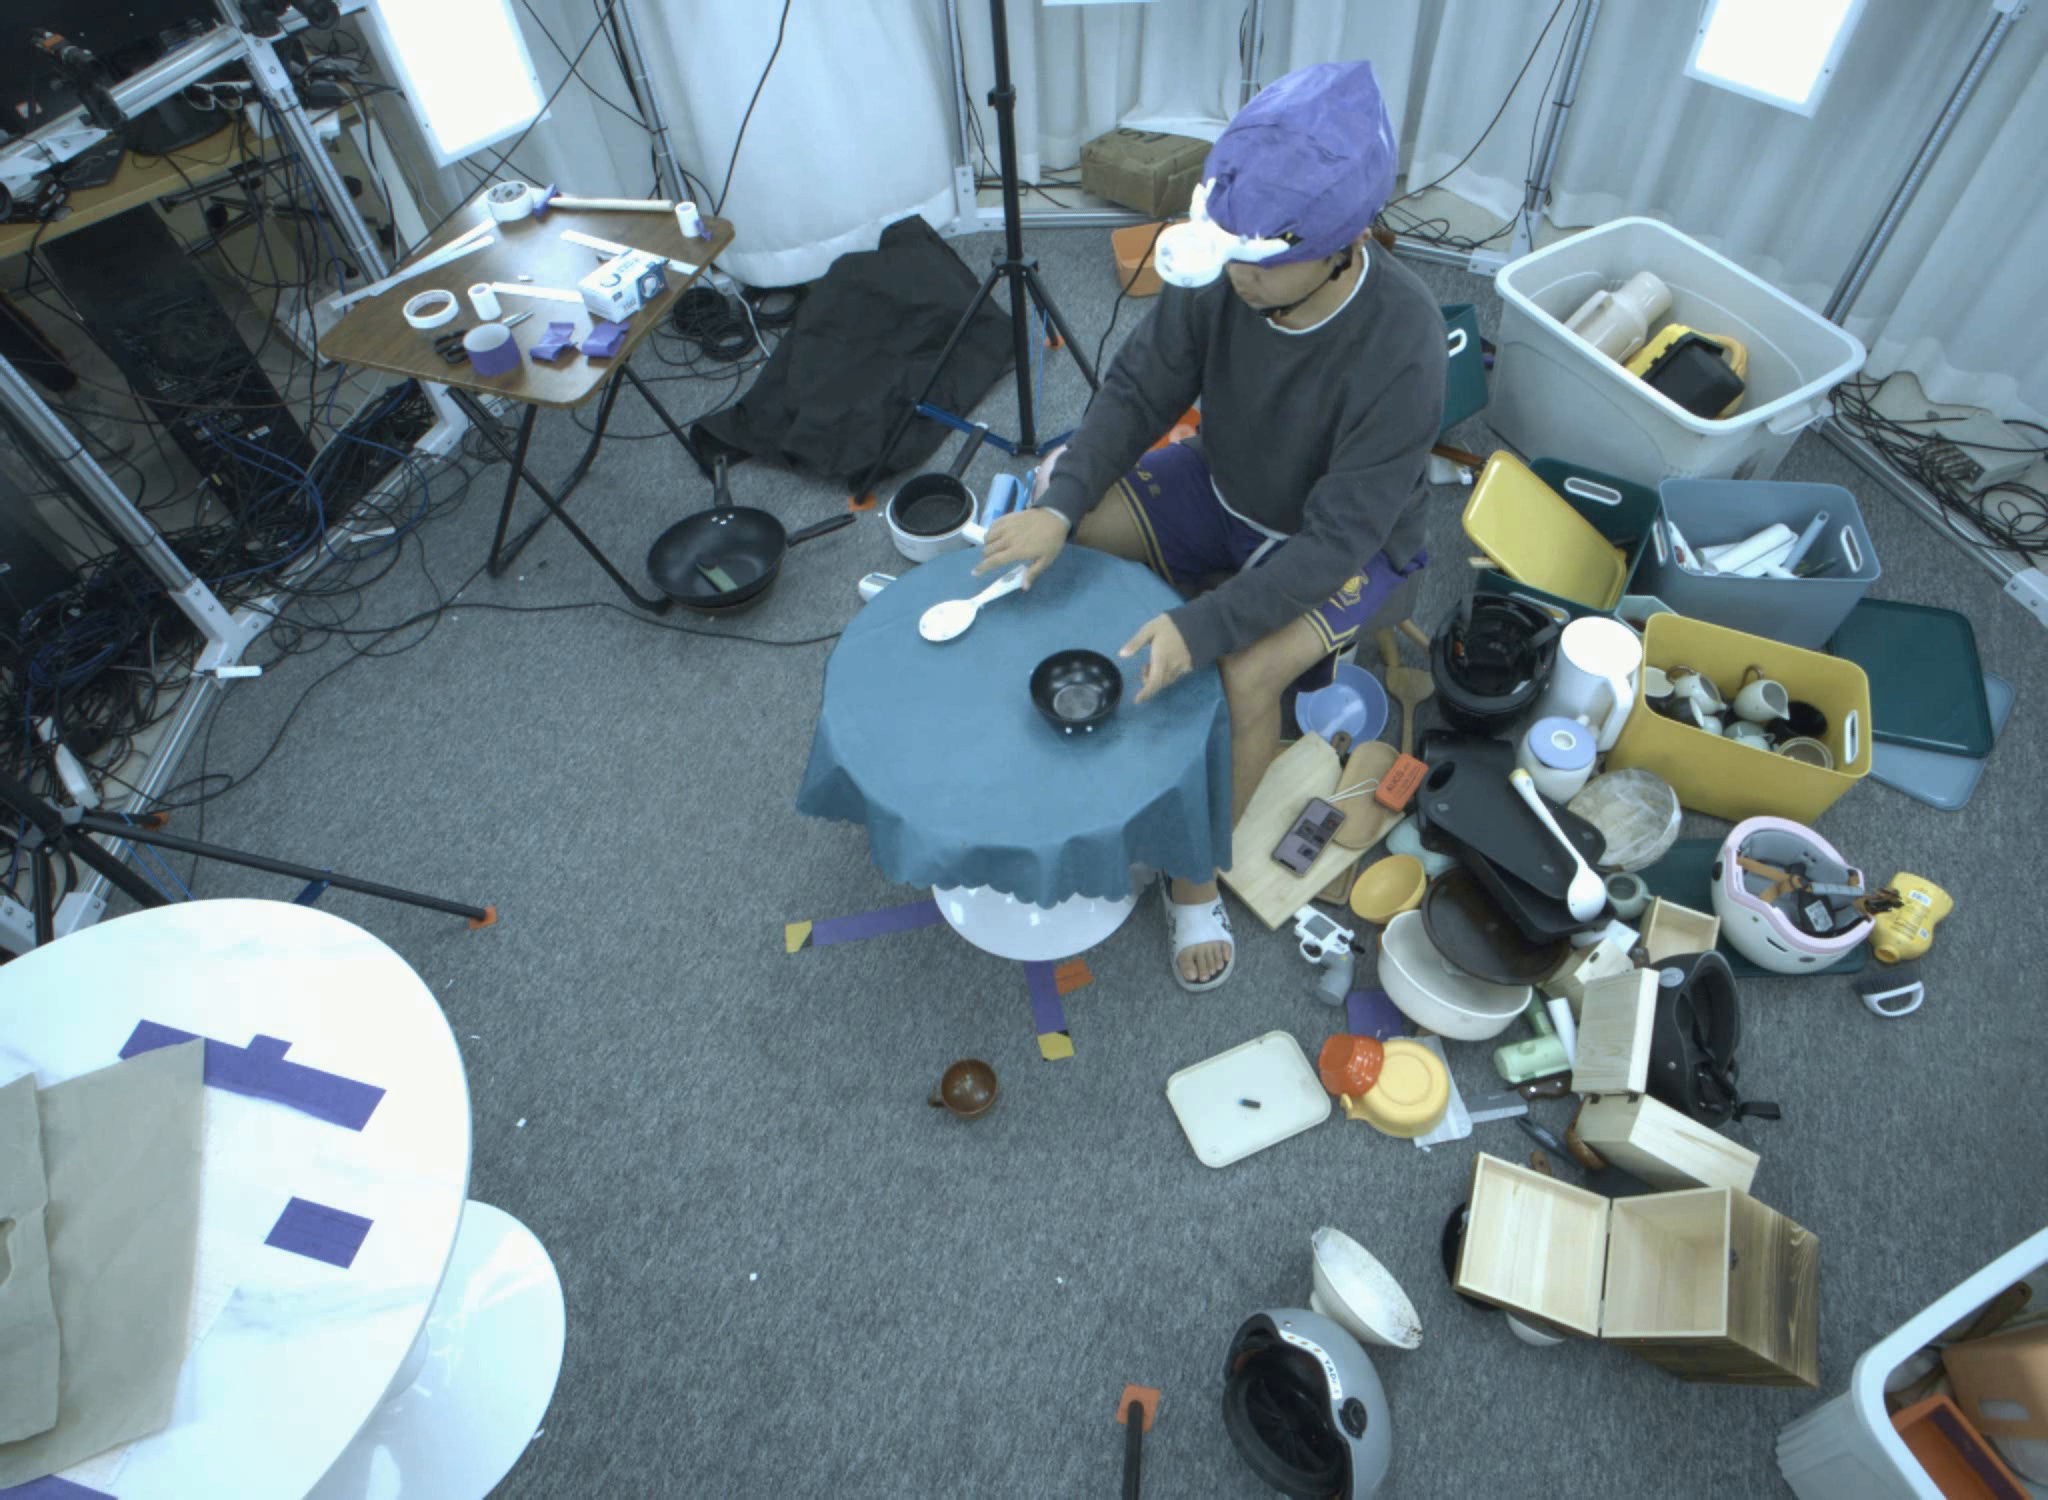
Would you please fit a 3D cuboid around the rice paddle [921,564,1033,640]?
[{"bbox_3d":[-0.075,-0.233,1.940,0.207,0.030,0.067,-34,61,-21],"label":"rice paddle"}]

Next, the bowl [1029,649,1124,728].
[{"bbox_3d":[0.078,-0.082,1.817,0.140,0.050,0.138,-1,54,2],"label":"bowl"}]
